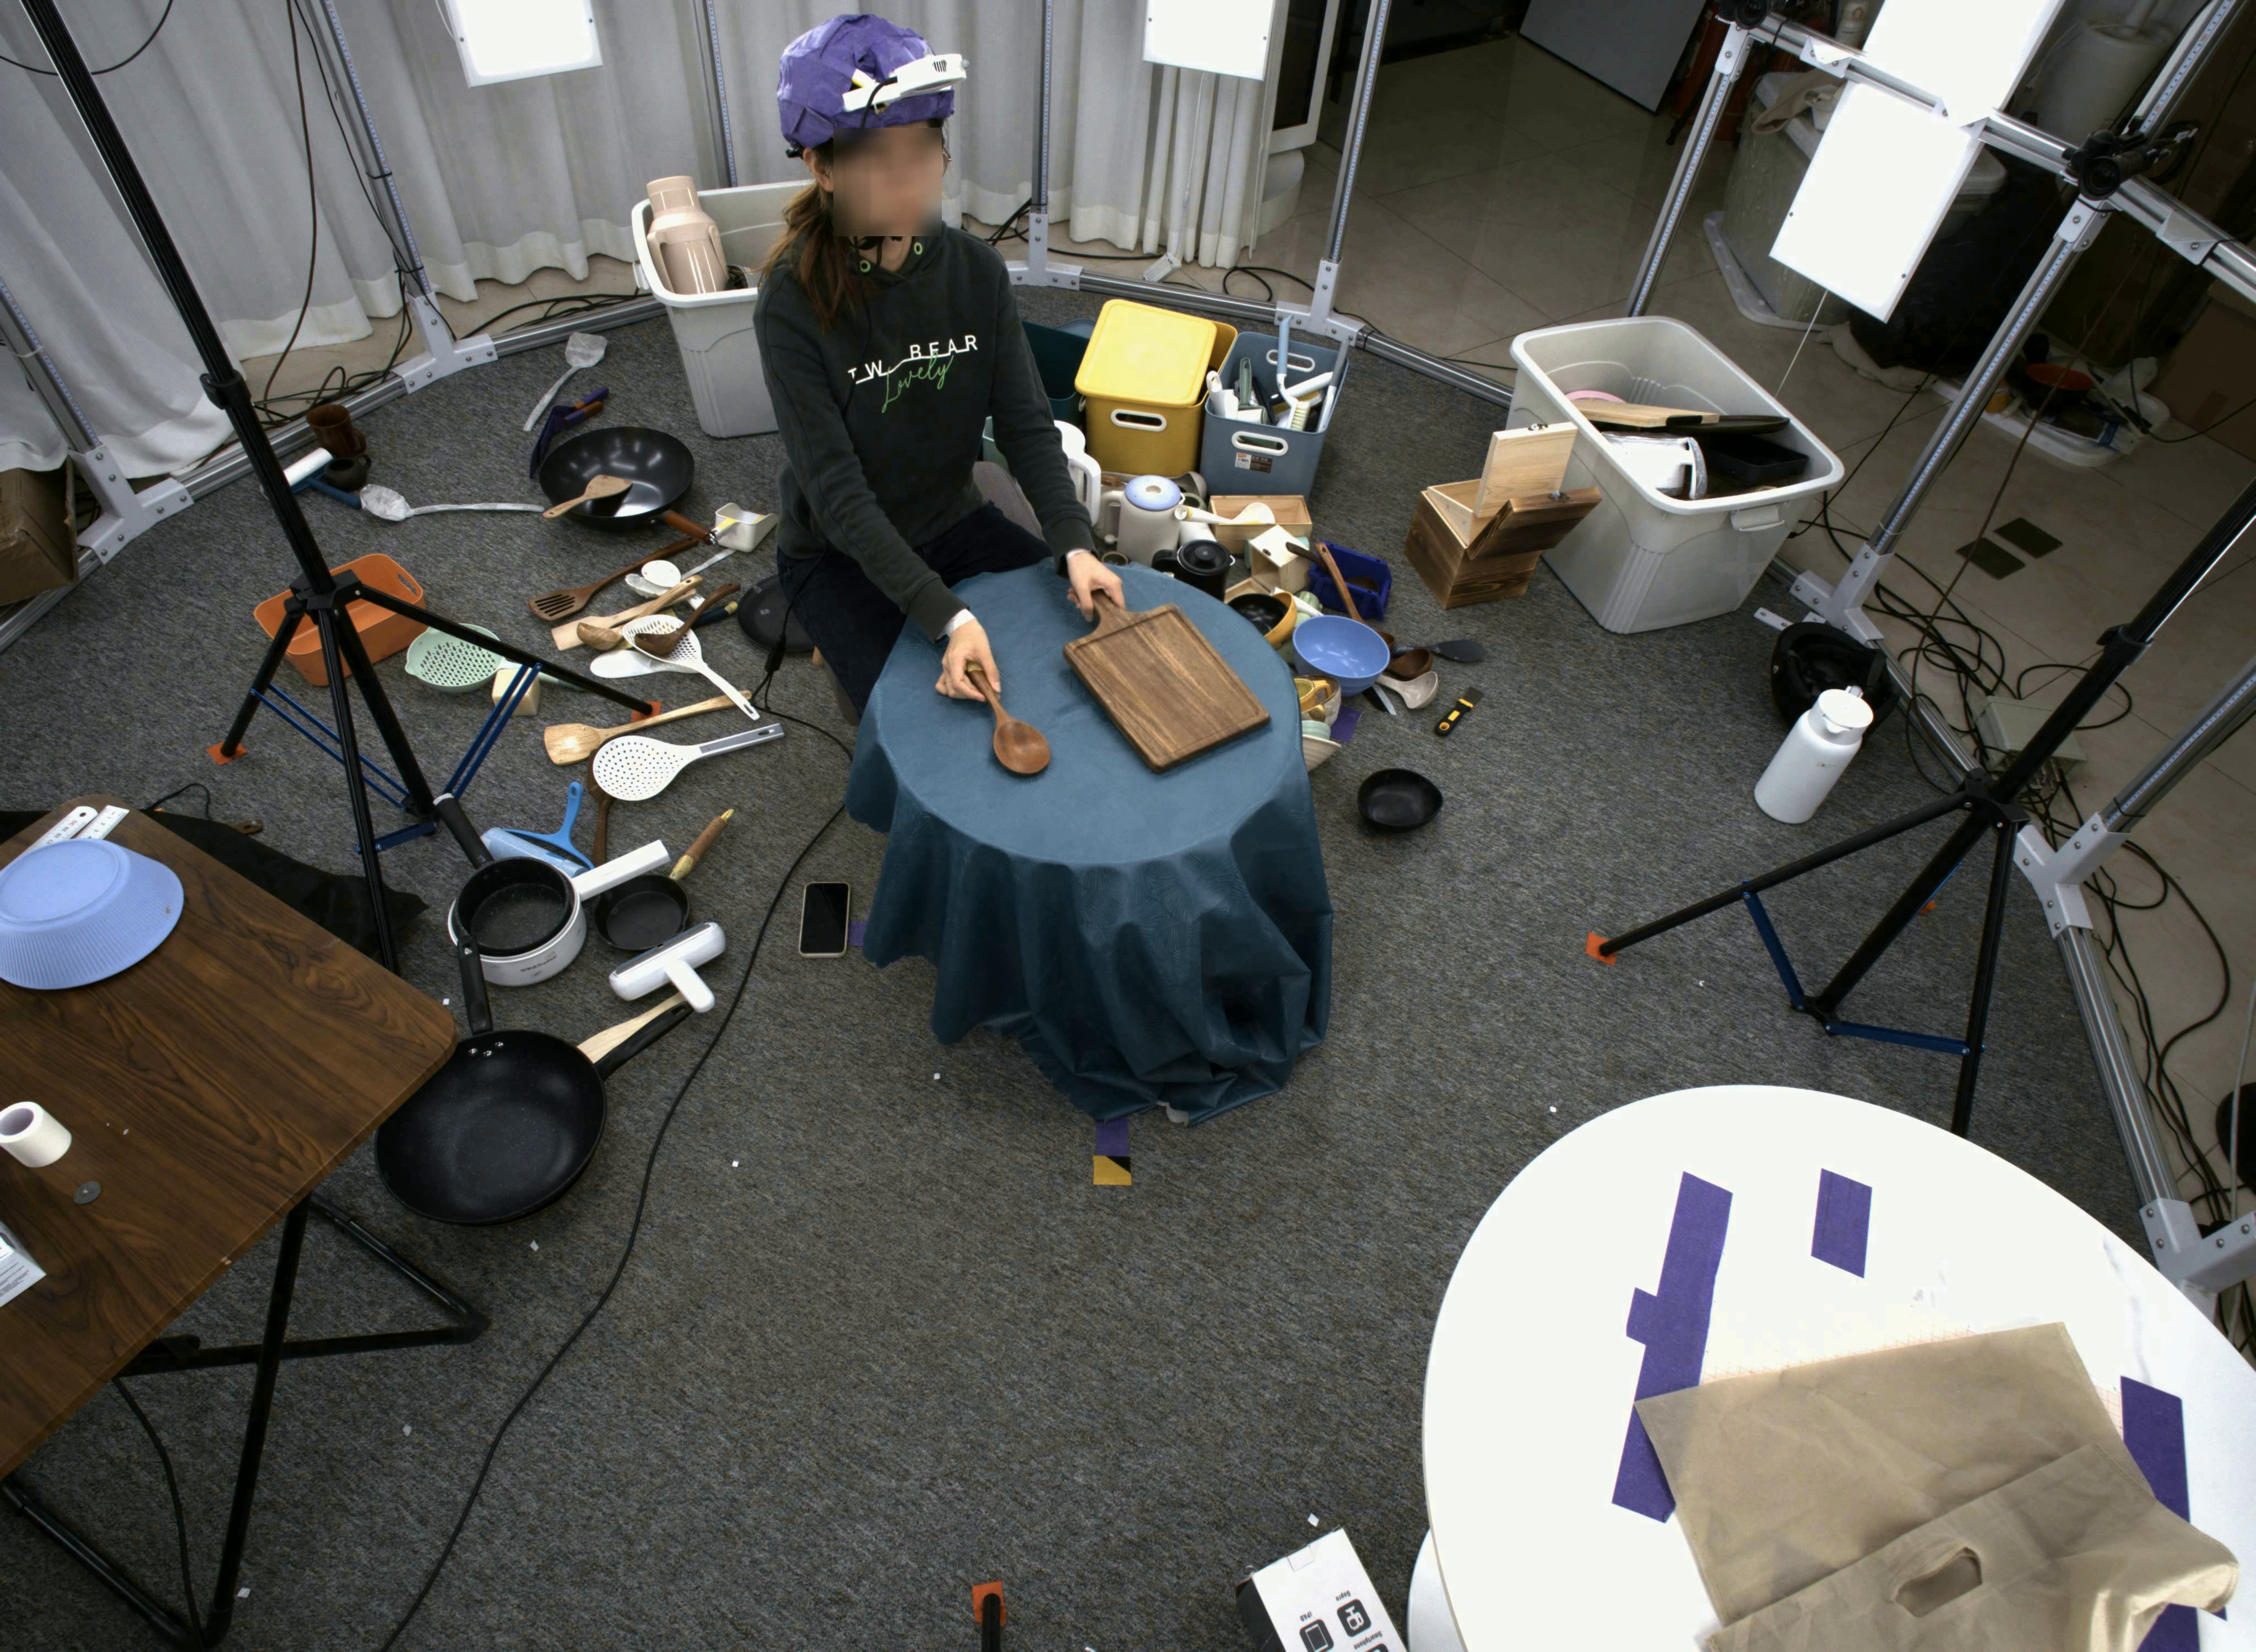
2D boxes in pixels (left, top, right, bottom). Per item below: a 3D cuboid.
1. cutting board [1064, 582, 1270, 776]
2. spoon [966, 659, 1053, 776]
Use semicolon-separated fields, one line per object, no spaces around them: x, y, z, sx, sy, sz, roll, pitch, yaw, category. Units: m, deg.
0.027;-0.235;1.860;0.202;0.022;0.359;-25;60;-21;cutting board
-0.171;-0.152;1.781;0.075;0.017;0.220;-21;61;-19;spoon
